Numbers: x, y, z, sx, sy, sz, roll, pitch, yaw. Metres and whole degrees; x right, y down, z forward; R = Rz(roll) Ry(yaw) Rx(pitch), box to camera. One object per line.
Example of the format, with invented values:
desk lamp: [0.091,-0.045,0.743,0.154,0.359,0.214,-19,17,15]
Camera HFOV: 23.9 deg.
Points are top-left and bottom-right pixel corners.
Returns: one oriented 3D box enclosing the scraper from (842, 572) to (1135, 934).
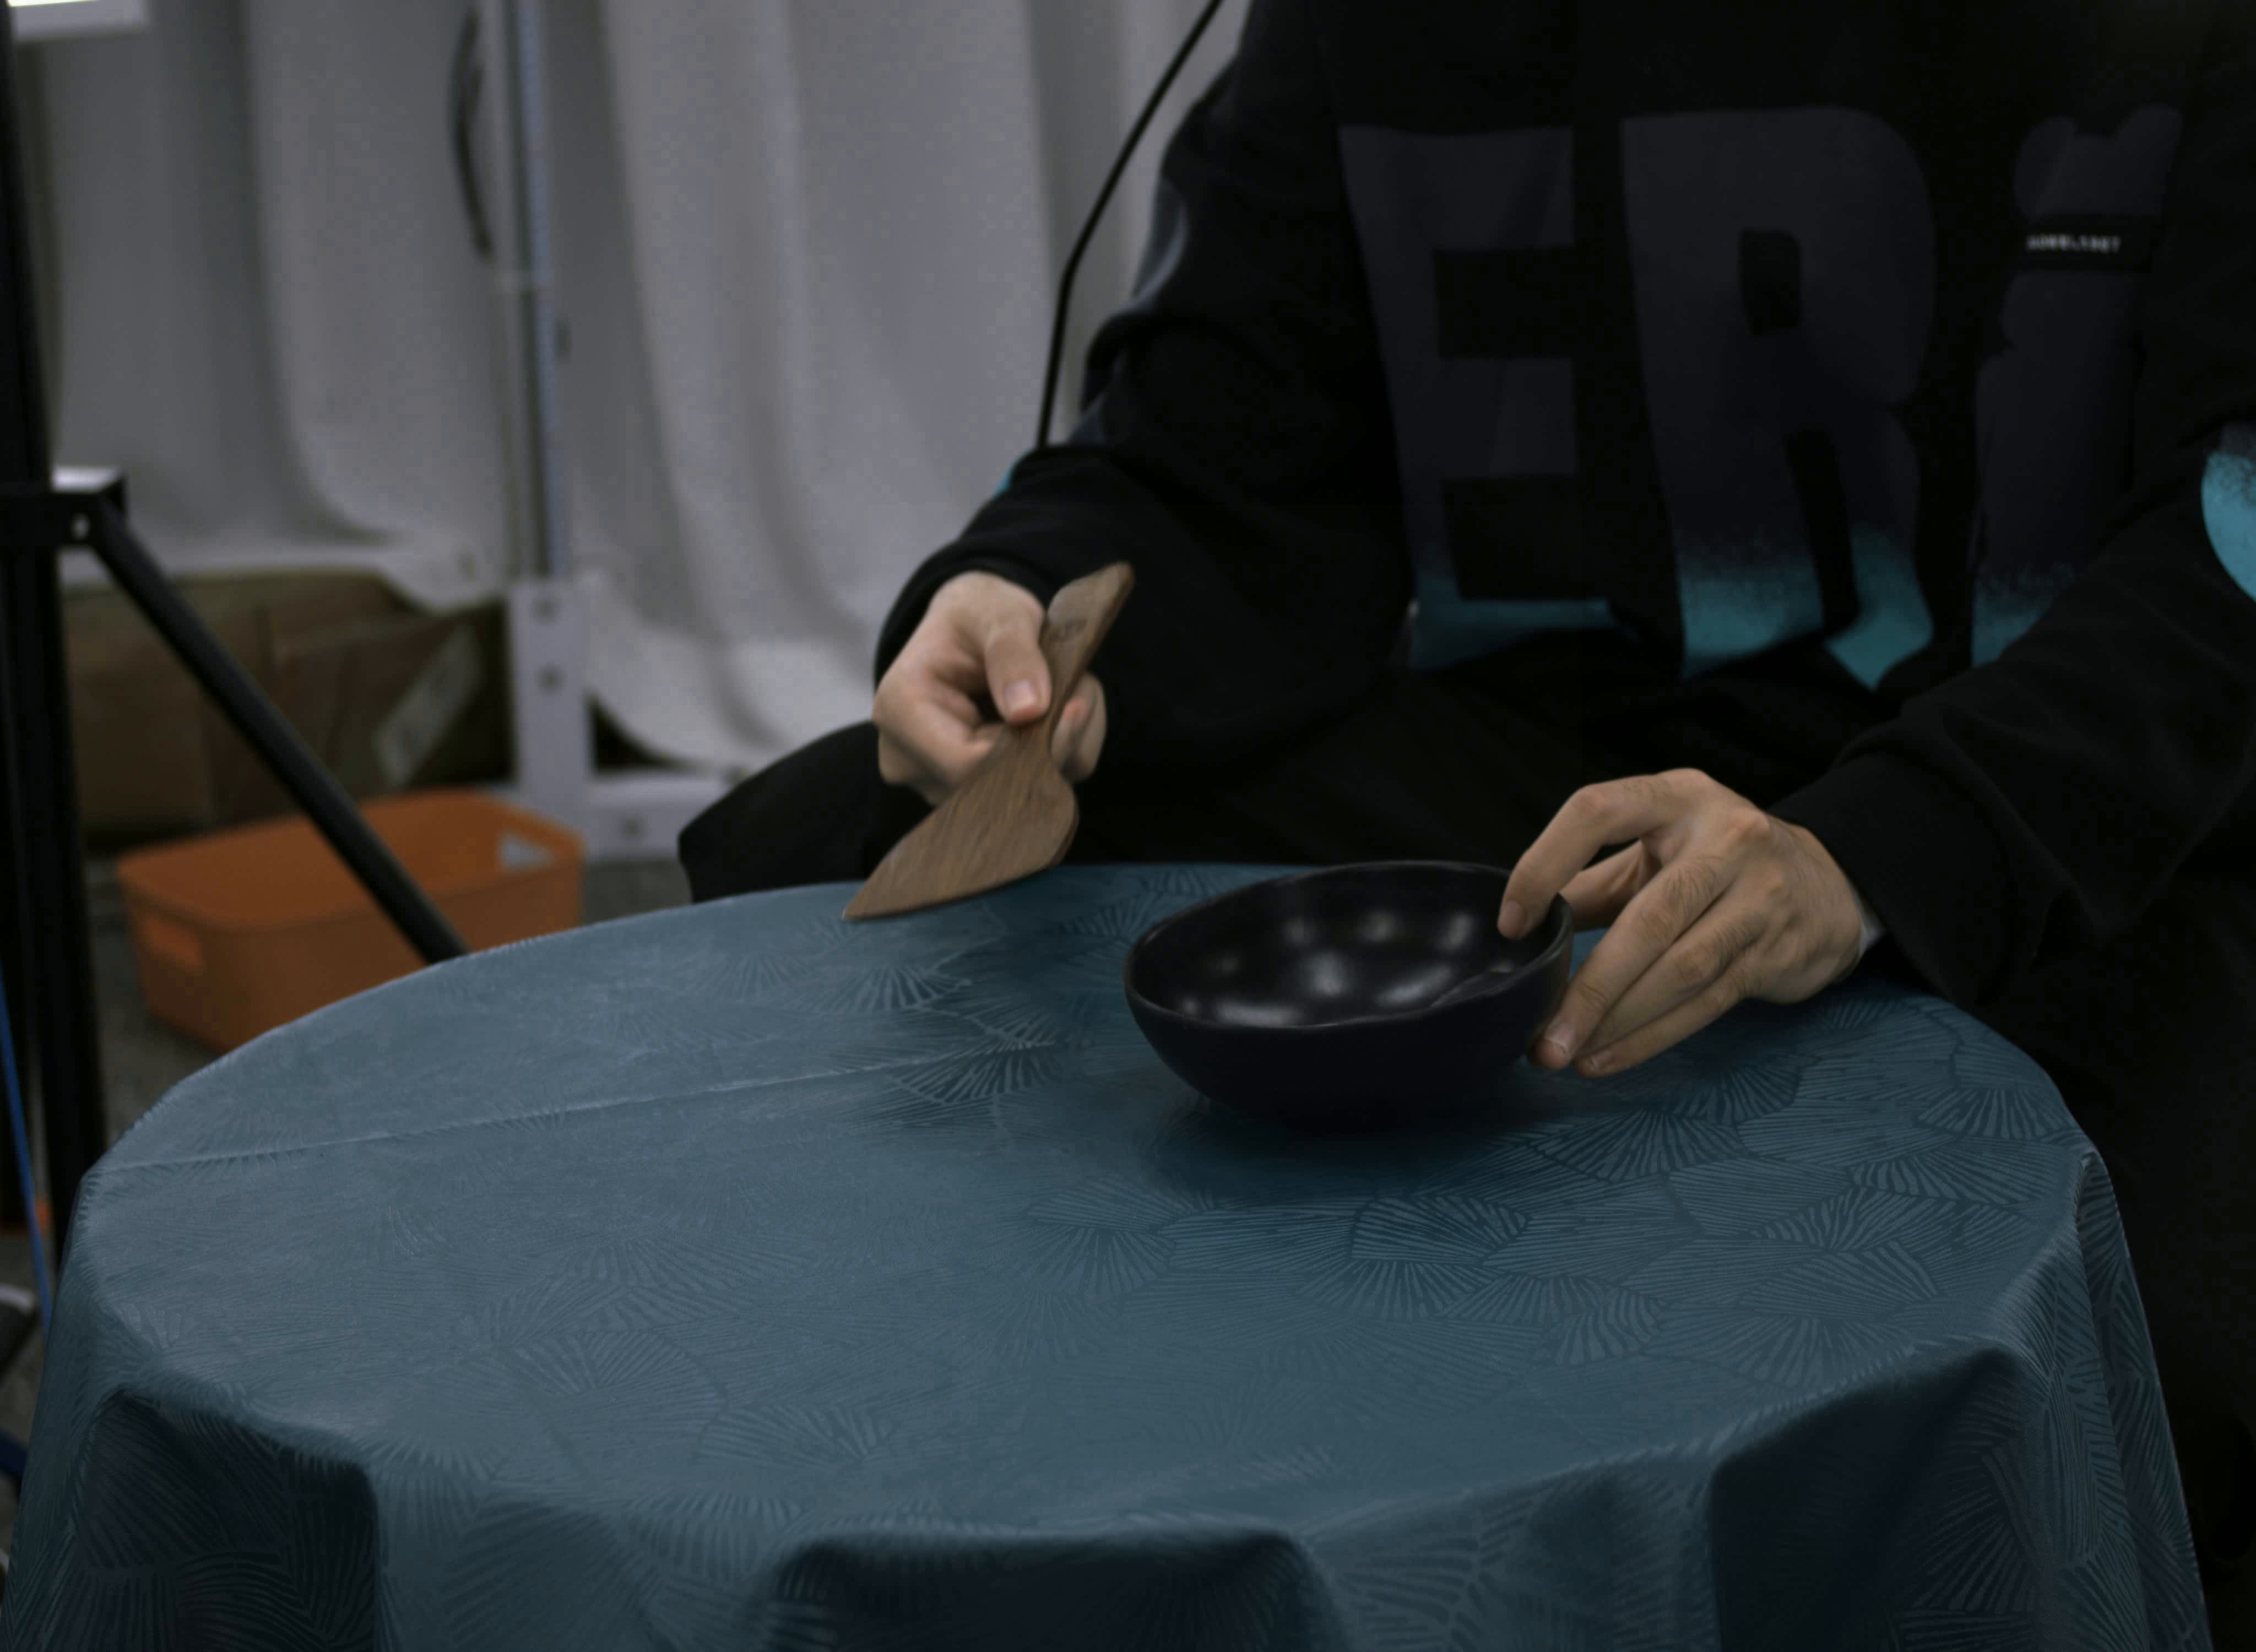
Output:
scraper: [-0.033,-0.026,1.715,0.077,0.011,0.211,-14,28,24]

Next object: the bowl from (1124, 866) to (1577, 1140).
bowl: [0.071,0.059,1.610,0.139,0.049,0.141,-11,17,2]
